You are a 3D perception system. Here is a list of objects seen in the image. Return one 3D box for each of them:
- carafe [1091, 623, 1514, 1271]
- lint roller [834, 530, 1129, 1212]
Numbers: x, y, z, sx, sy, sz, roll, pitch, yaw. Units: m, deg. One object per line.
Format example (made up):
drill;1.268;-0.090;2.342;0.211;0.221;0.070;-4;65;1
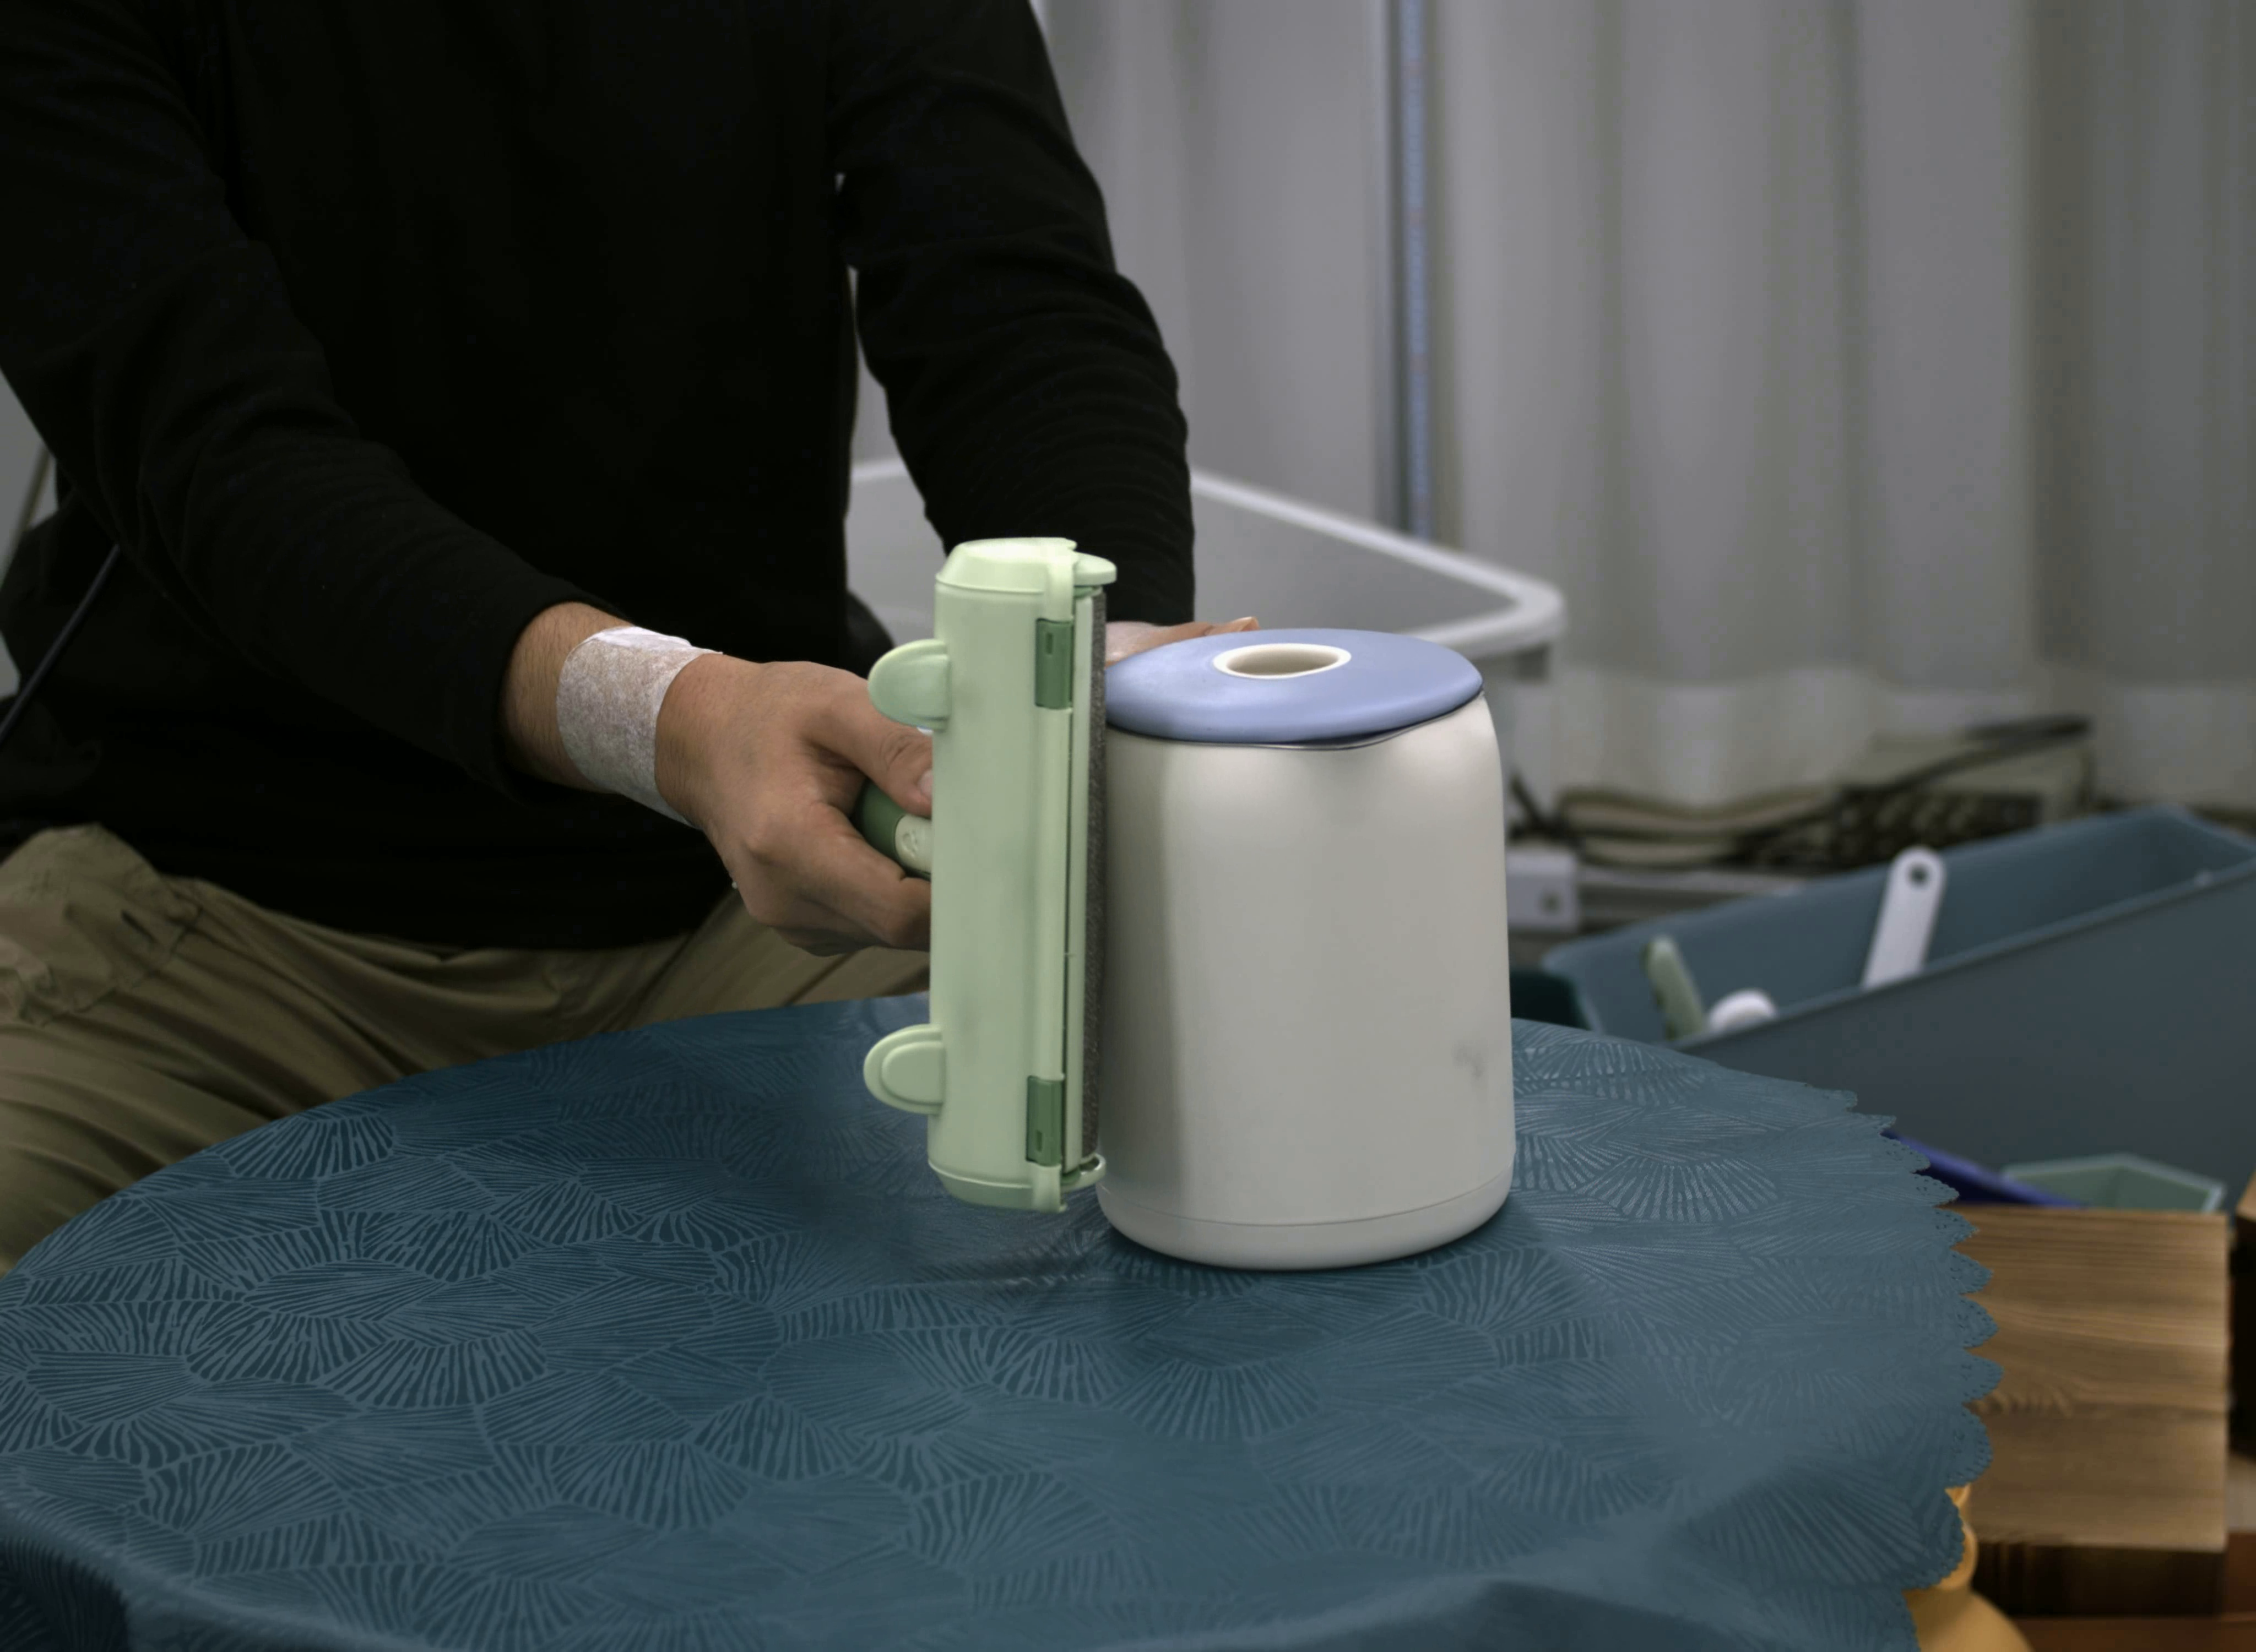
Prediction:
carafe;0.043;0.030;1.691;0.131;0.182;0.192;-6;12;-16
lint roller;-0.064;0.005;1.660;0.082;0.198;0.184;-5;10;-32
